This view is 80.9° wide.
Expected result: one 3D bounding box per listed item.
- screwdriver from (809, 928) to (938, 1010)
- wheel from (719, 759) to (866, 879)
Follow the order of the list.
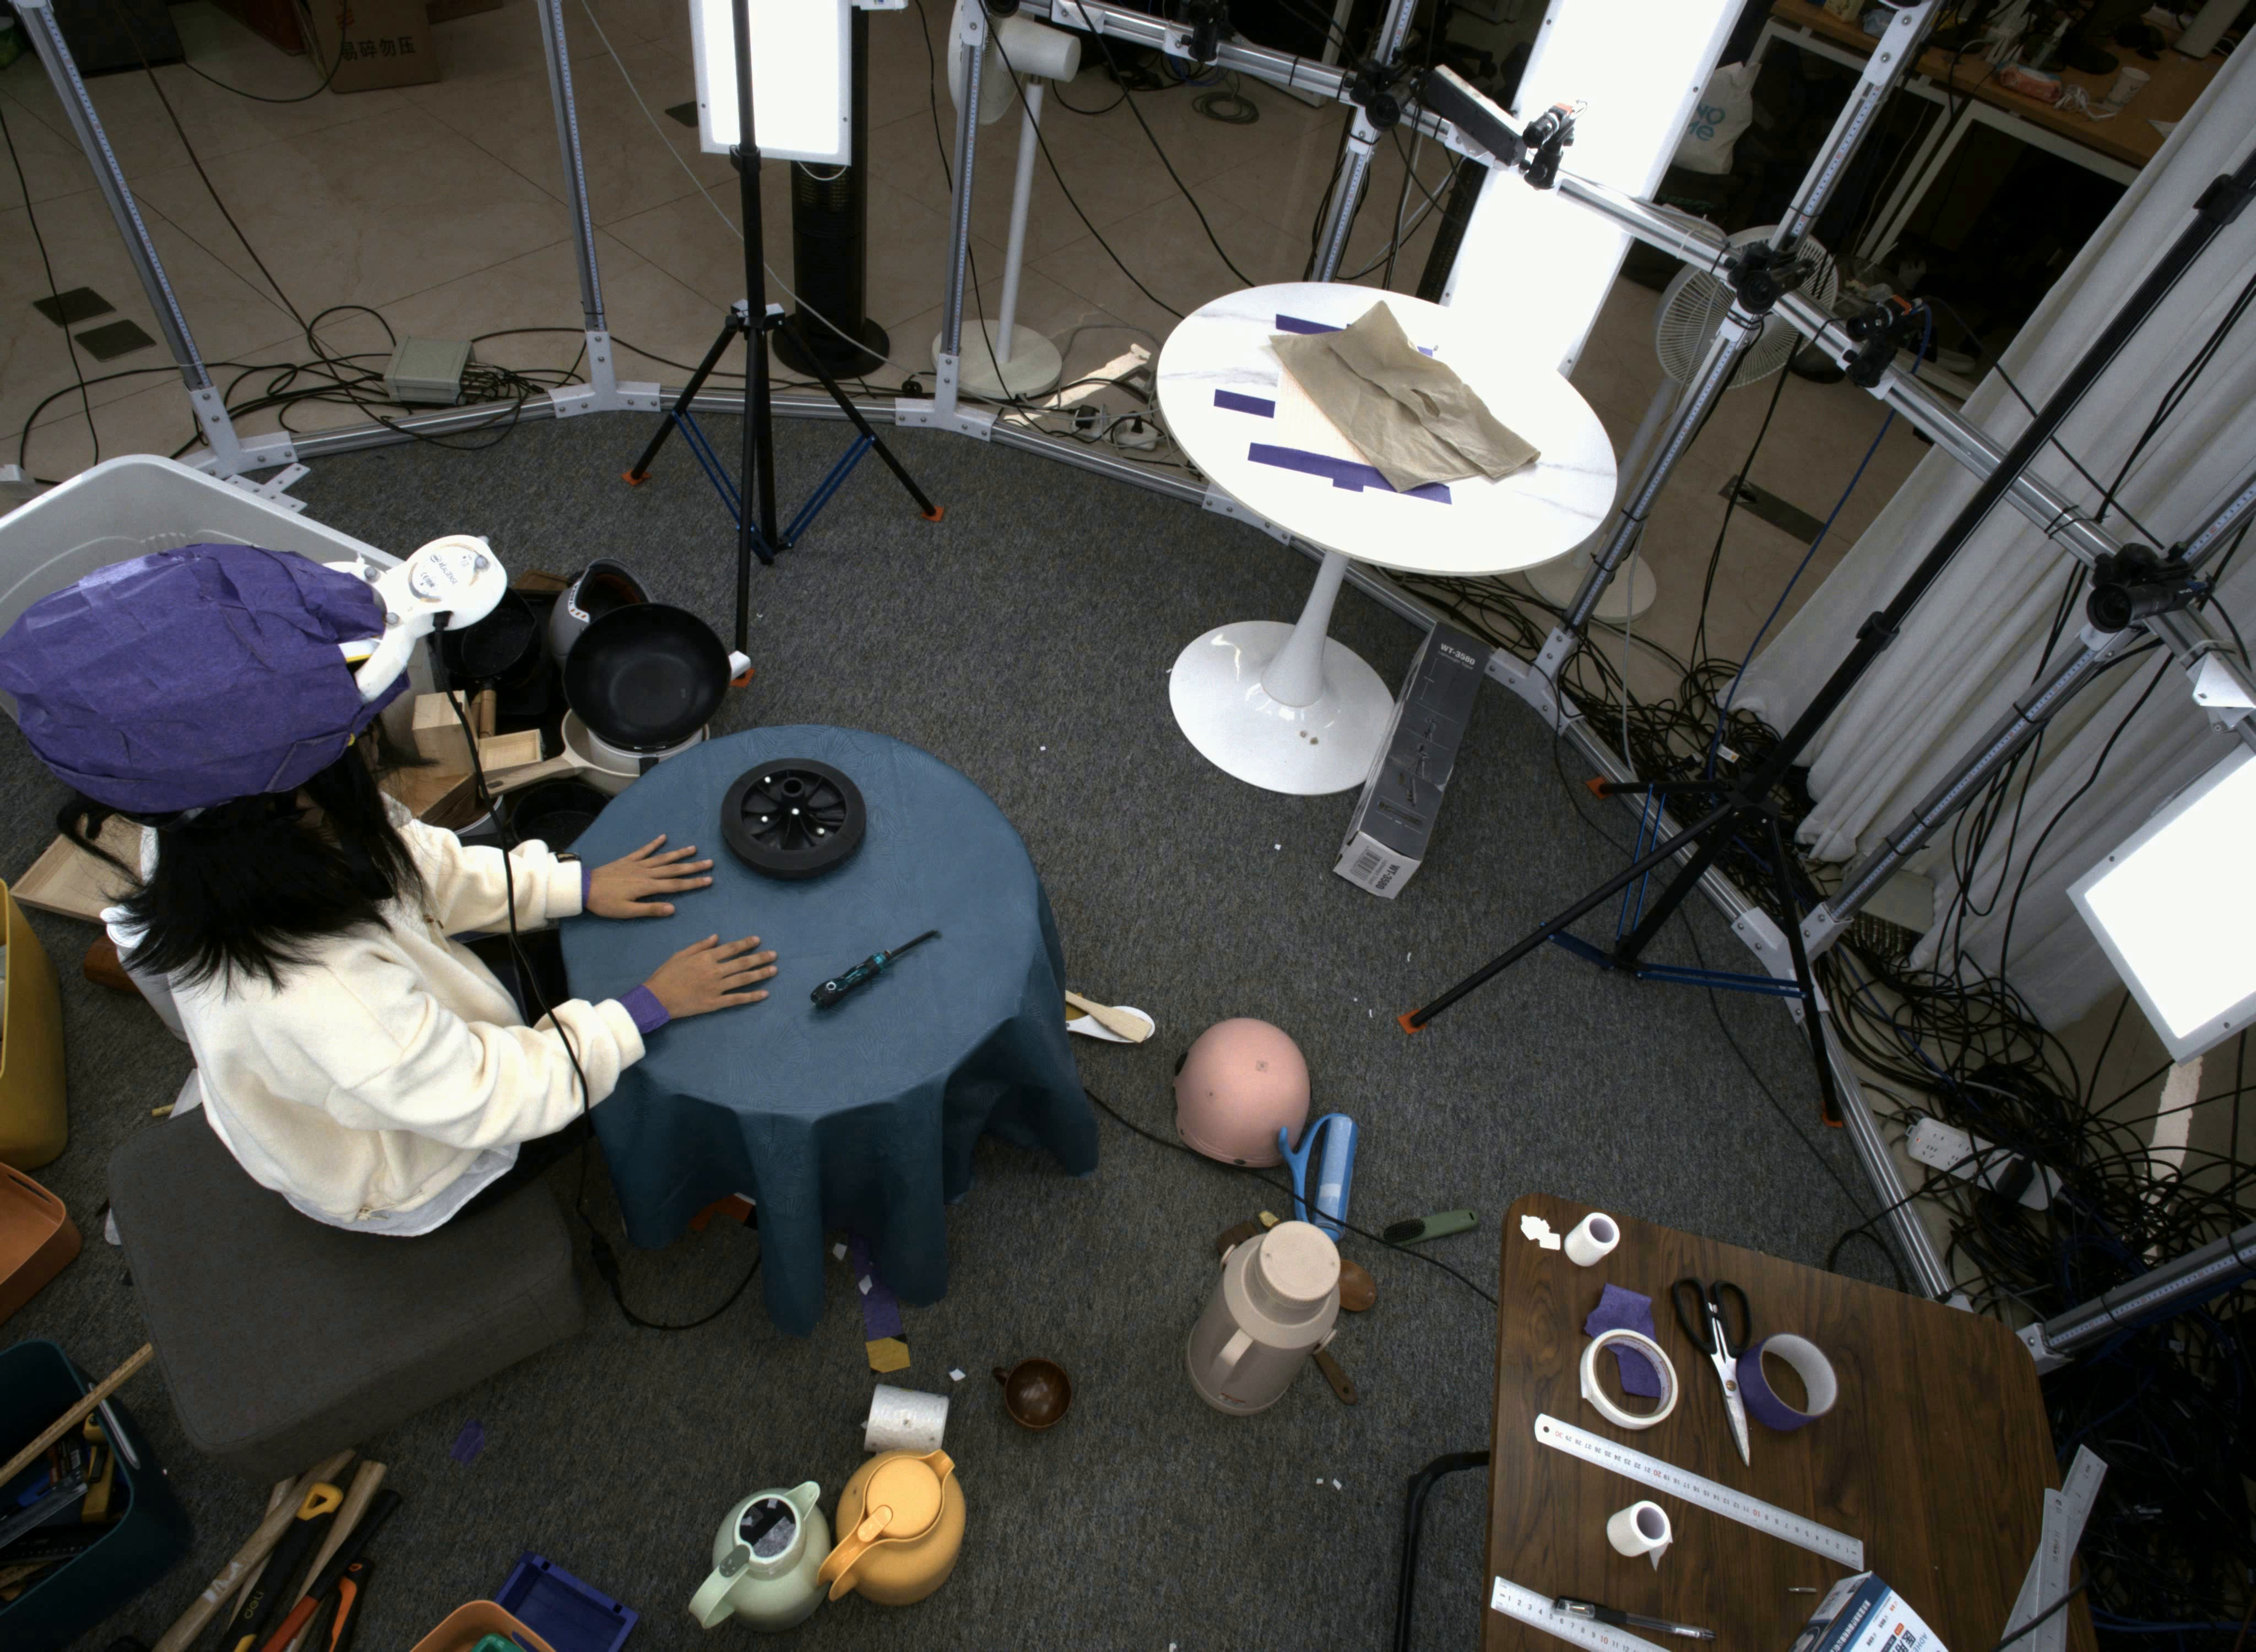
[{"bbox_3d":[-0.310,0.171,1.608,0.191,0.034,0.033,-30,64,-37],"label":"screwdriver"},{"bbox_3d":[-0.437,-0.026,1.687,0.191,0.080,0.183,-17,60,-28],"label":"wheel"}]
